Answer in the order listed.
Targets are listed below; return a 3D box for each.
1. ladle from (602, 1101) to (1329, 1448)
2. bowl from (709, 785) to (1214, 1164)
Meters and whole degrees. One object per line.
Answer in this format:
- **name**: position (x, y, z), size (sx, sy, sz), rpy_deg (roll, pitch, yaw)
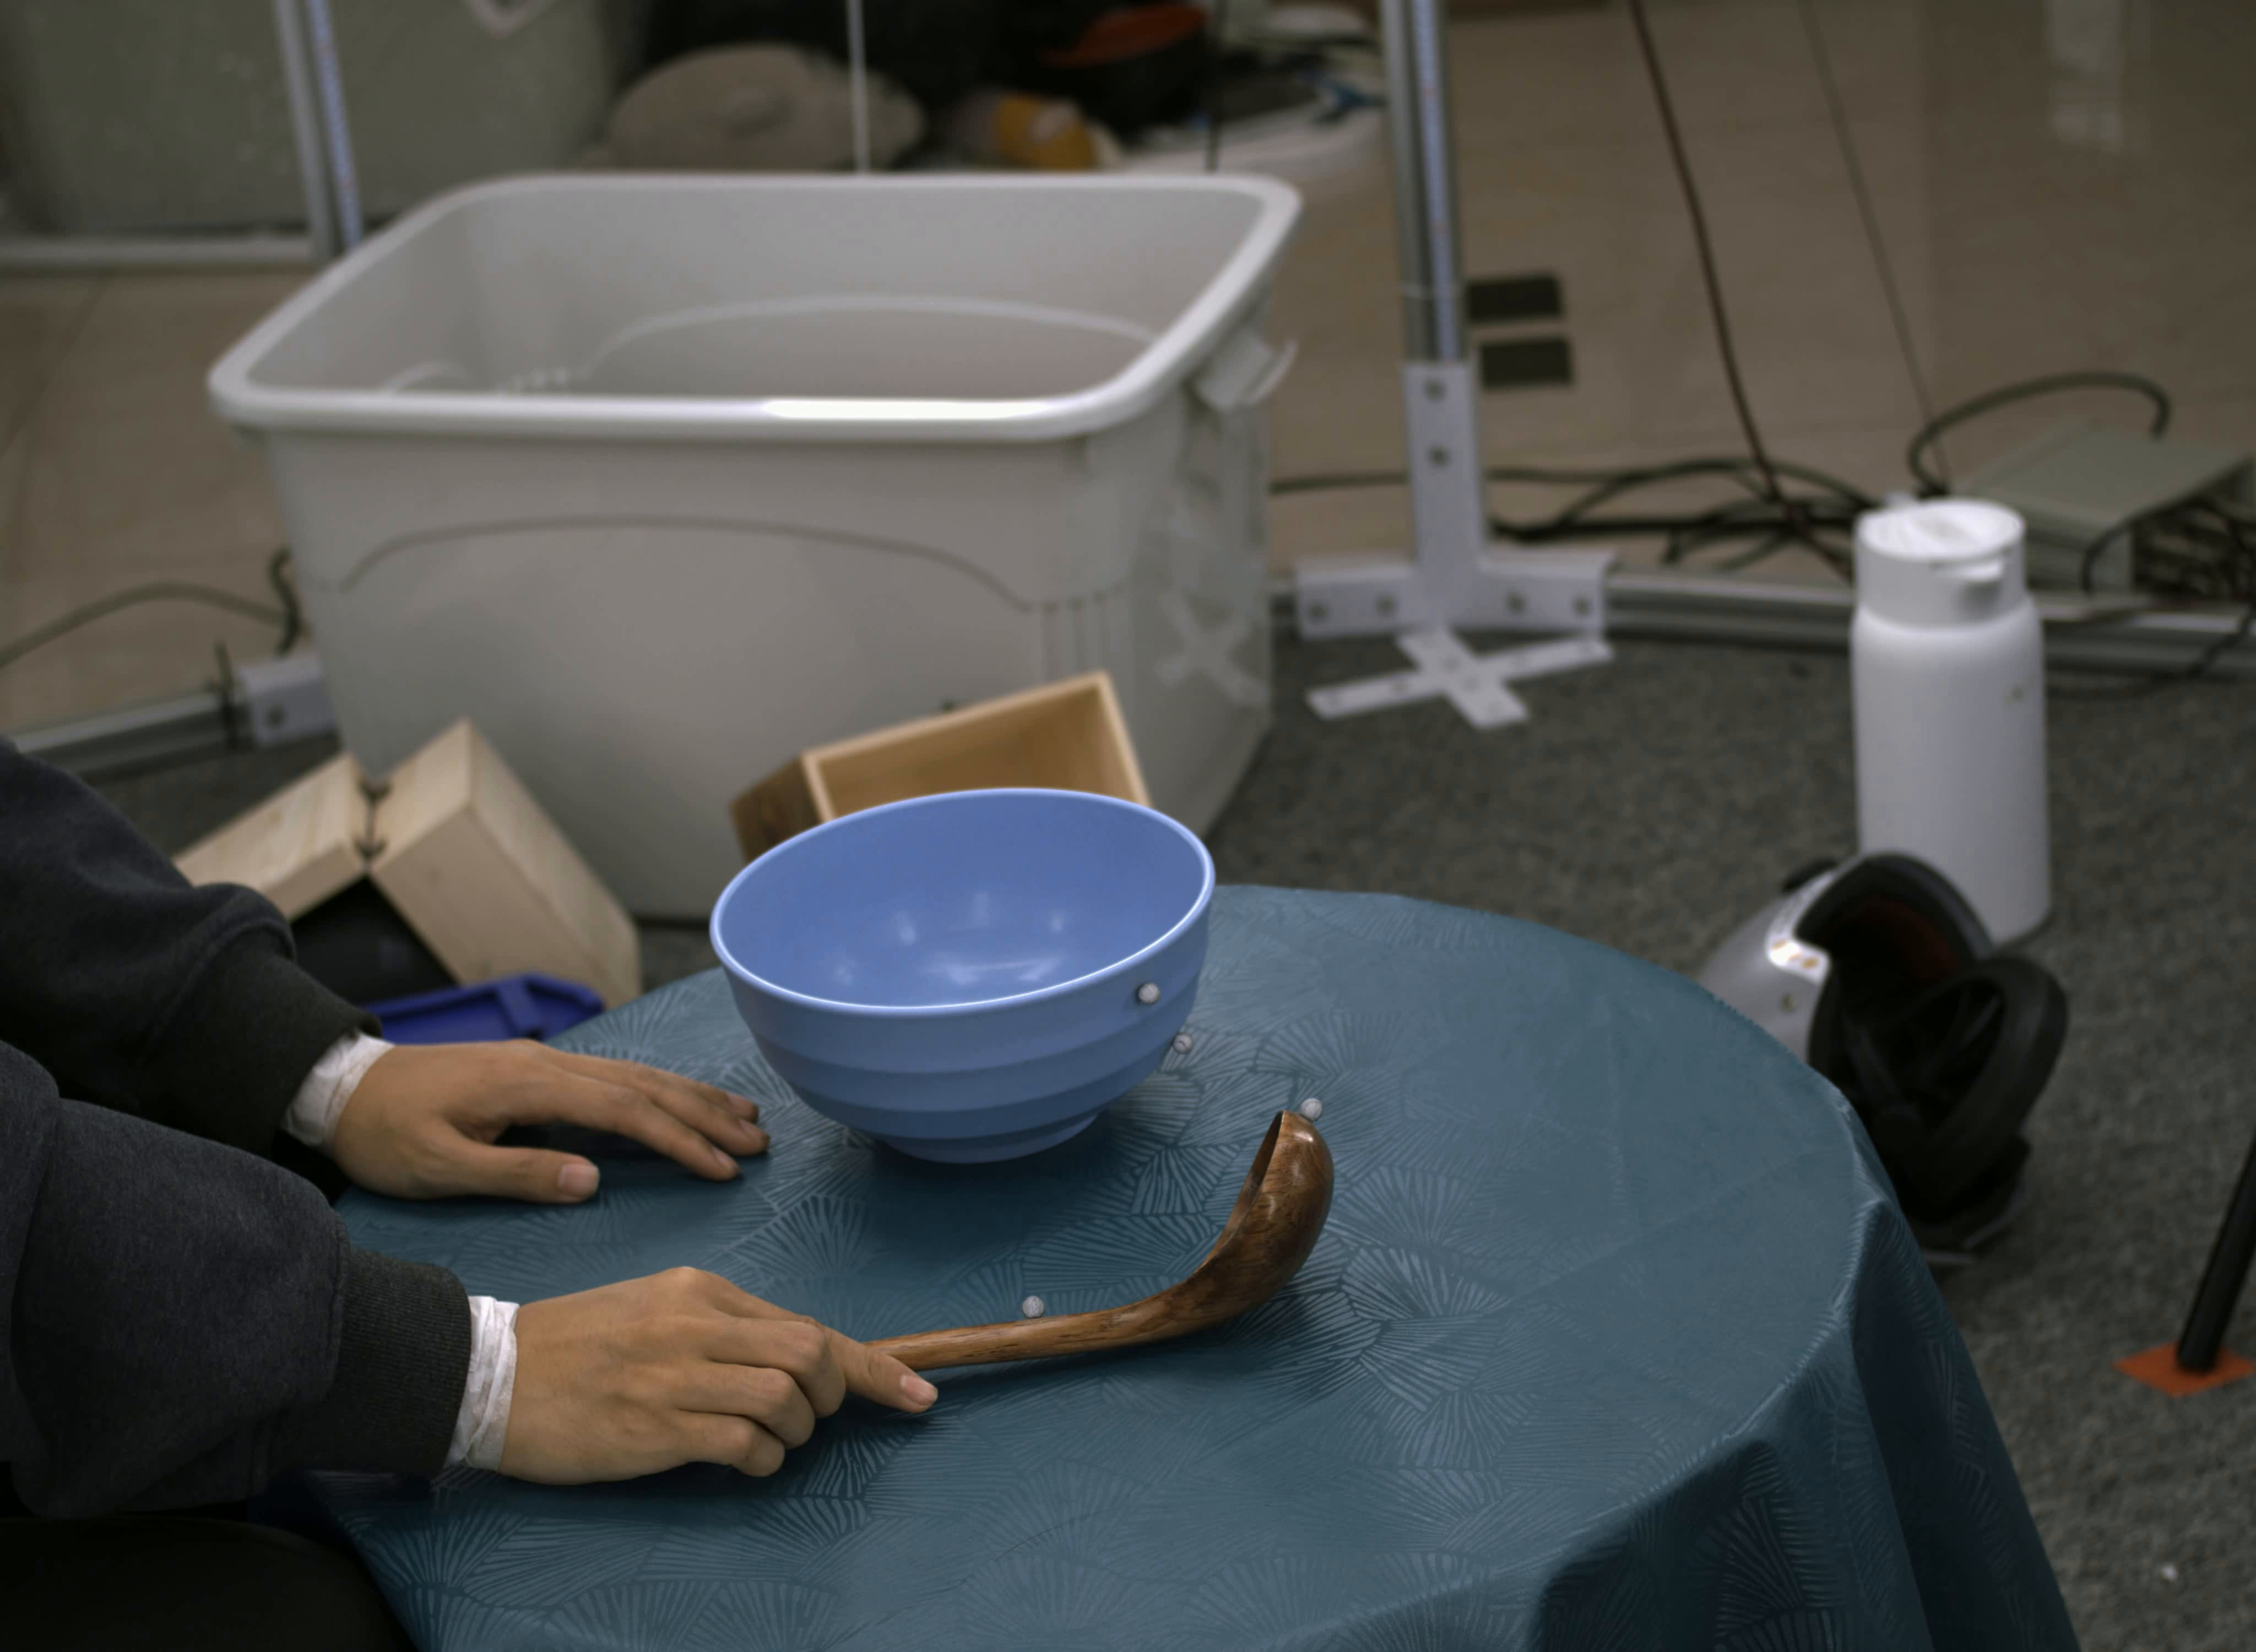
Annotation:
- **ladle**: position (-0.059, 0.159, 2.031), size (0.273, 0.076, 0.082), rpy_deg (-10, -10, -6)
- **bowl**: position (-0.059, 0.069, 2.200), size (0.196, 0.097, 0.193), rpy_deg (-6, 26, 3)
